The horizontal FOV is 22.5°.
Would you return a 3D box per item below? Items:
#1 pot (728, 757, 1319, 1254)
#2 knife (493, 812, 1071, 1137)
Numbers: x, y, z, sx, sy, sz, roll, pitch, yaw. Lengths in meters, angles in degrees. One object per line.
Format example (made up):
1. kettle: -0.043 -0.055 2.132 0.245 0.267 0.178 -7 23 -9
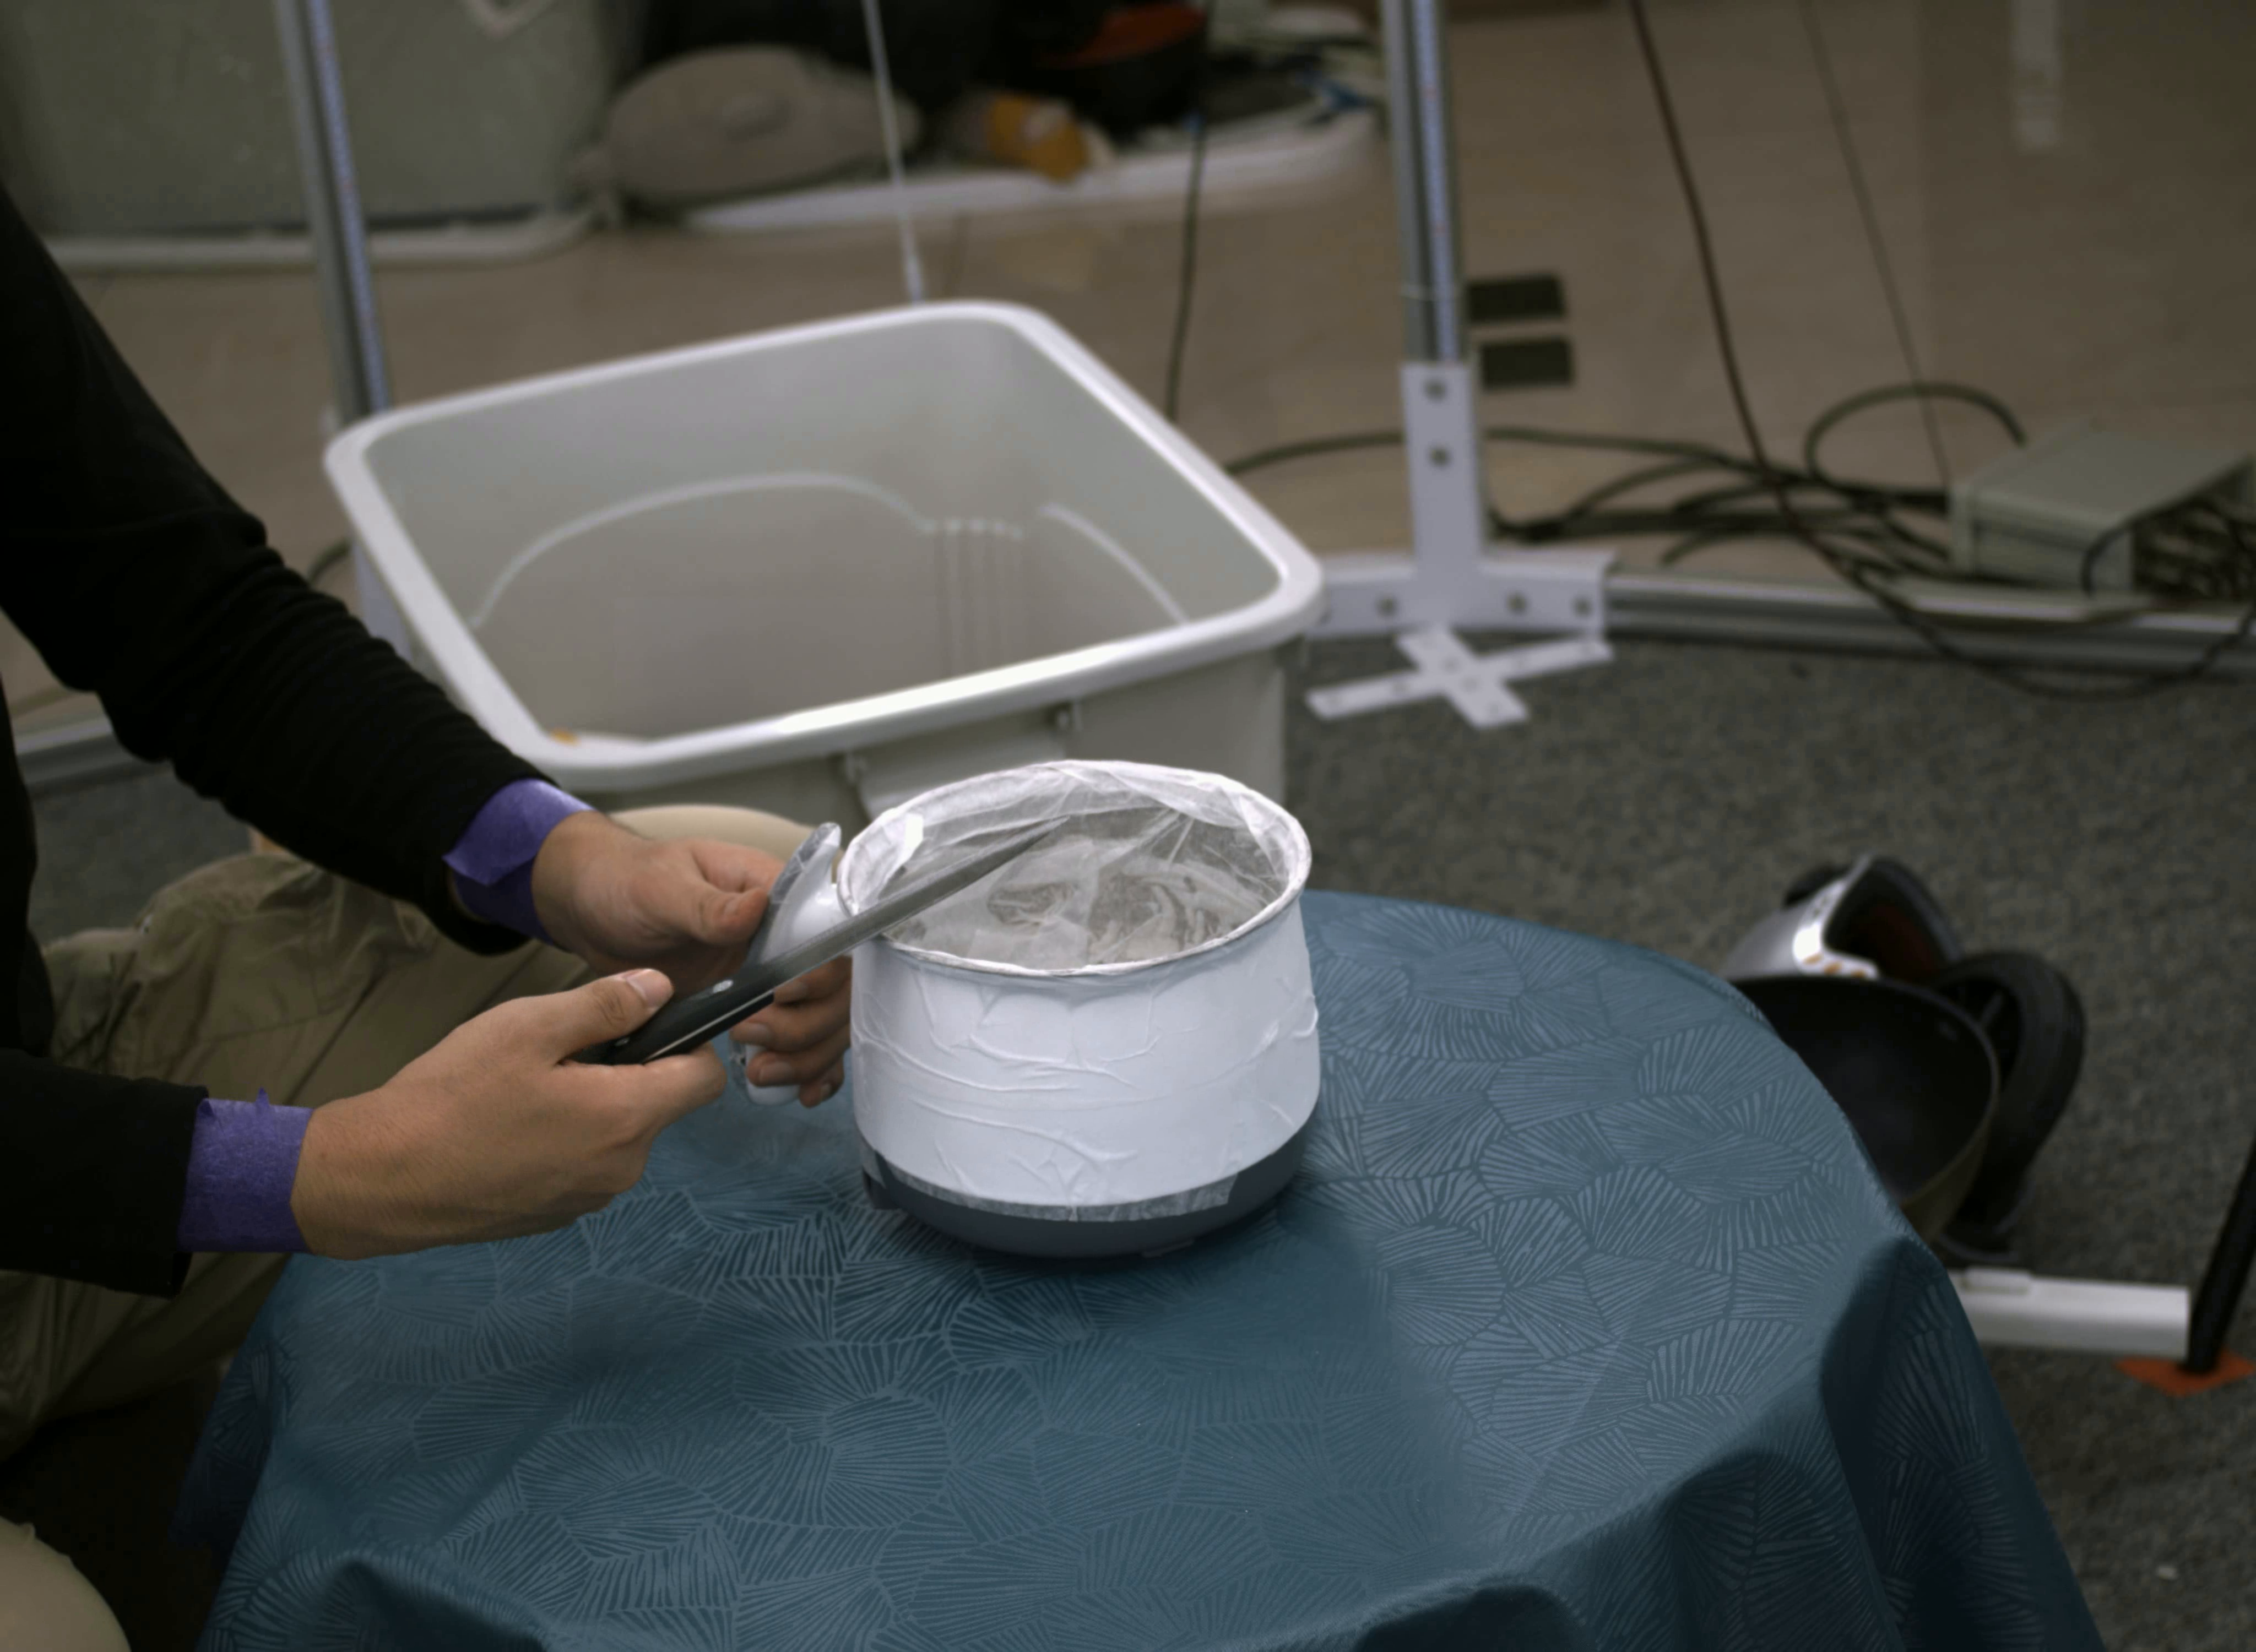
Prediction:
1. pot: -0.043 0.066 2.136 0.233 0.139 0.176 7 28 17
2. knife: -0.125 0.053 2.054 0.238 0.016 0.024 -28 27 4
